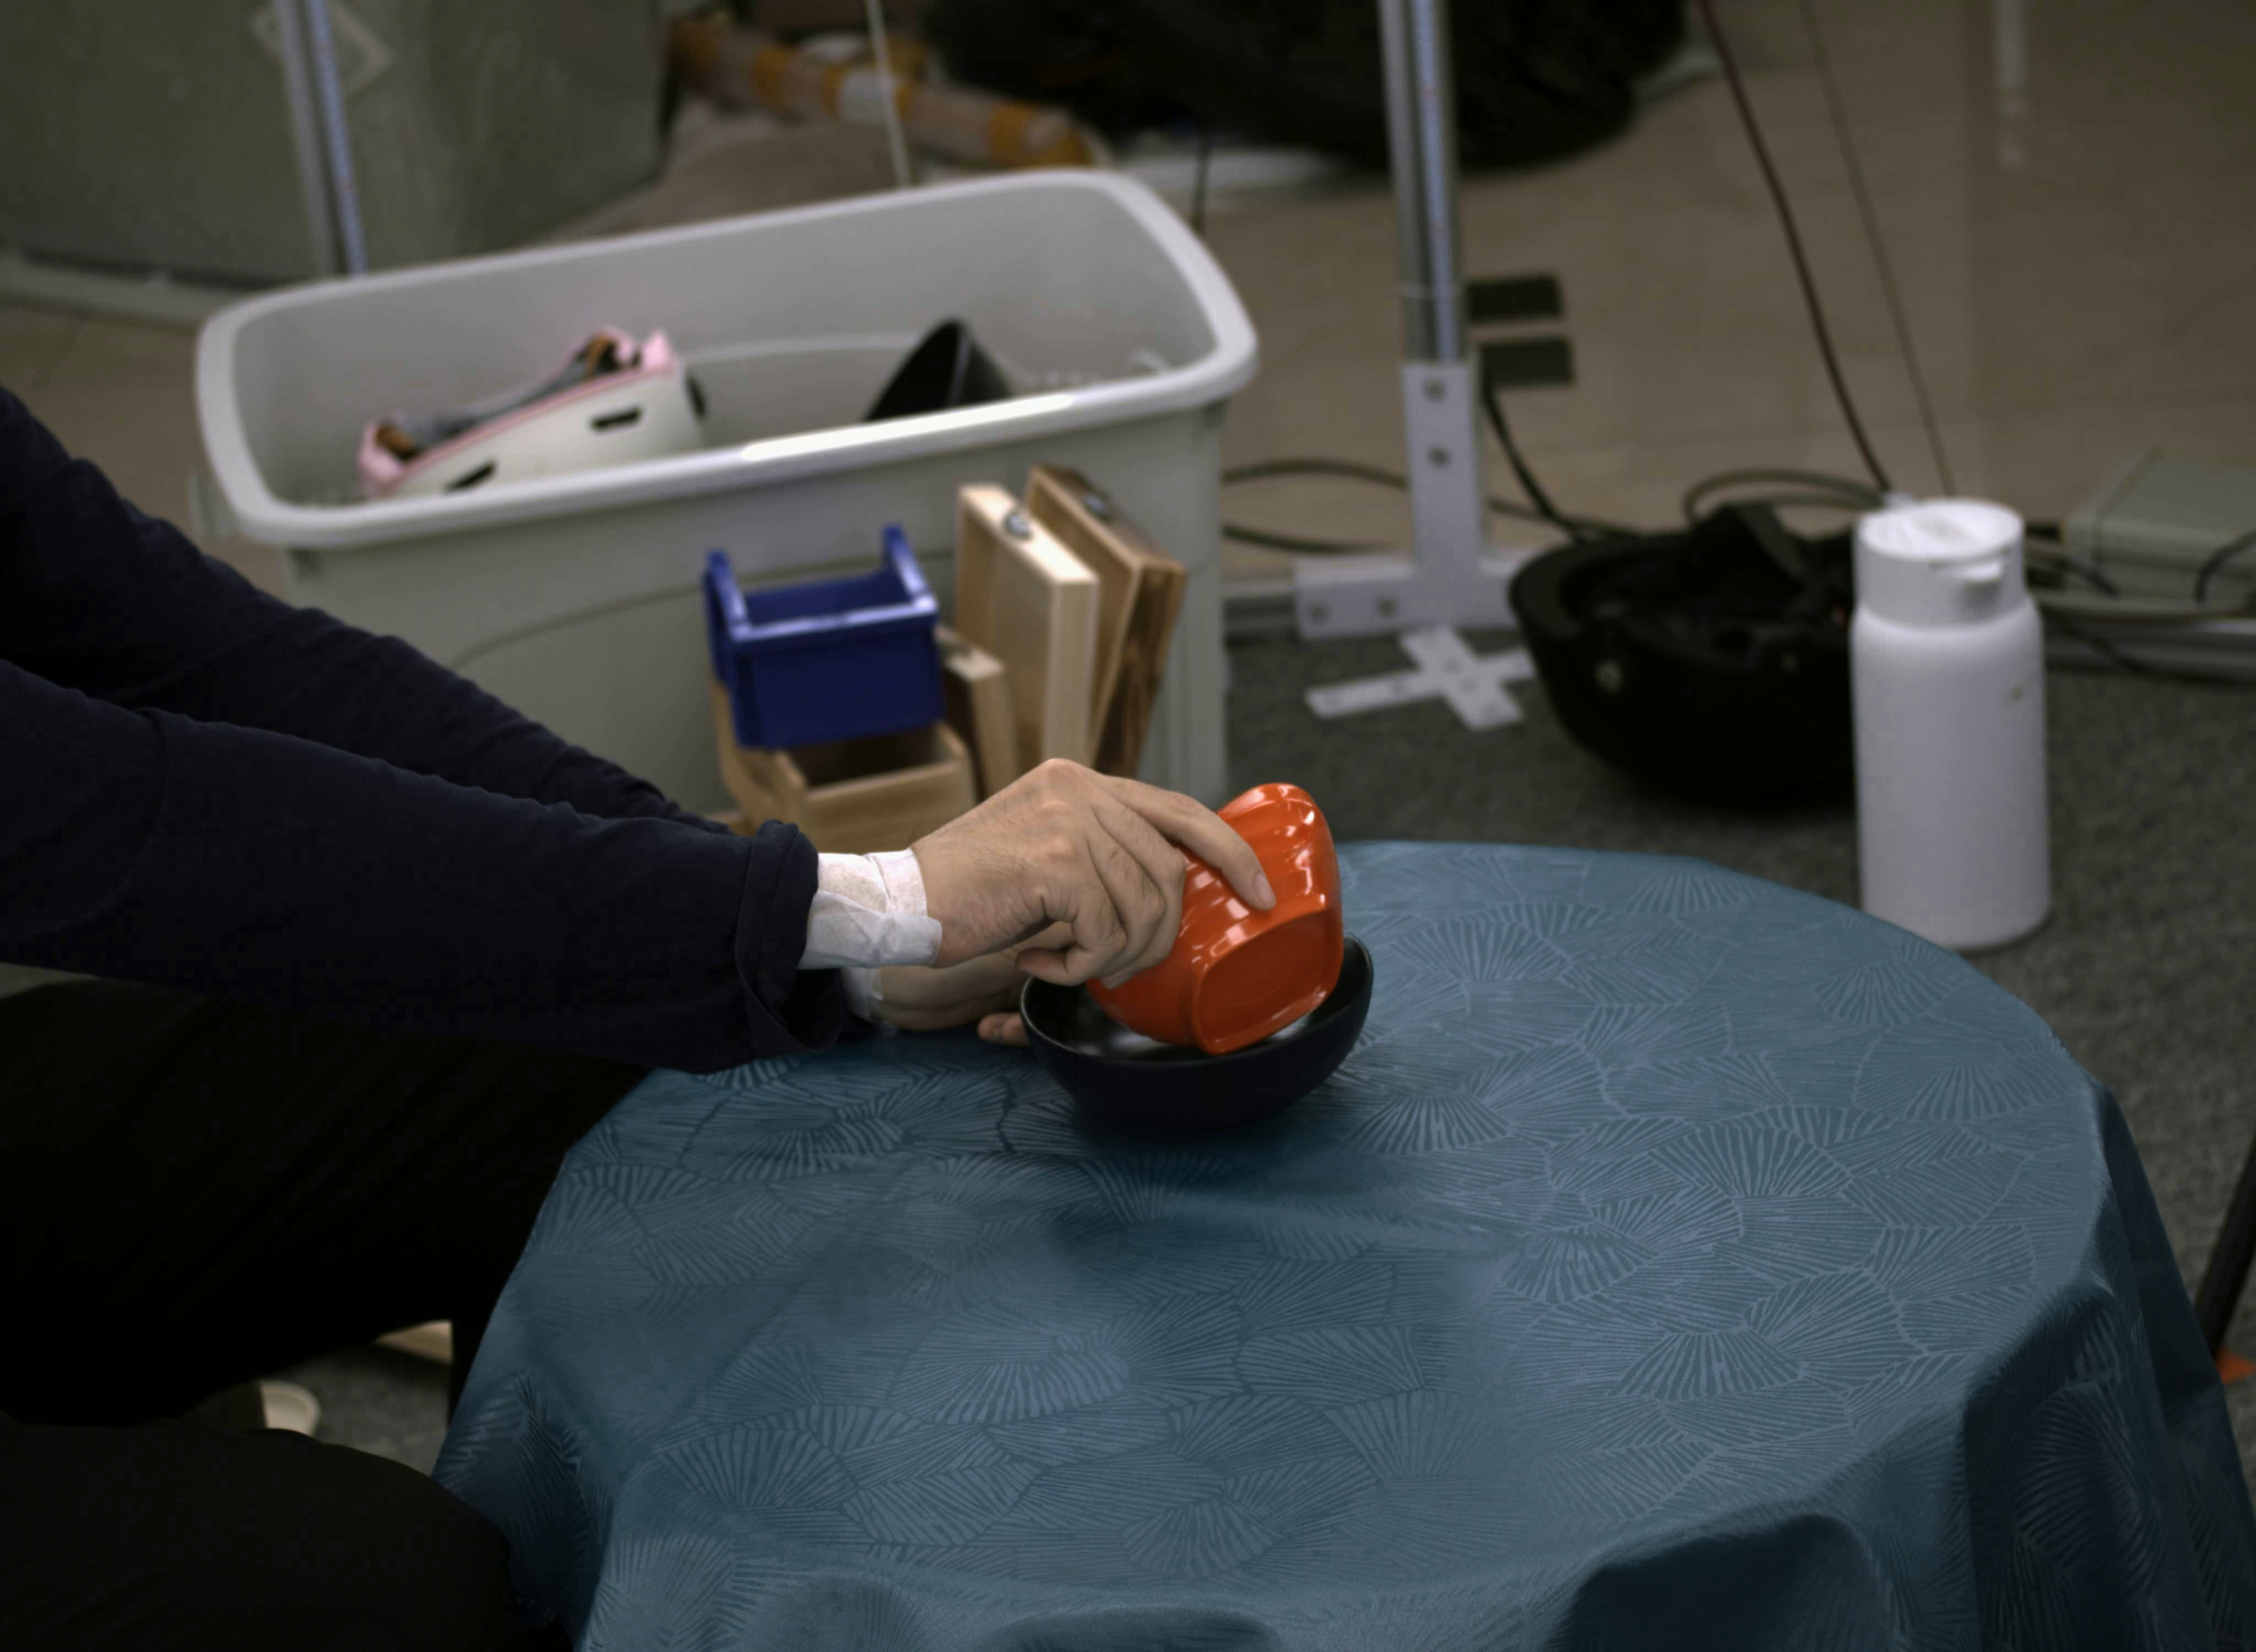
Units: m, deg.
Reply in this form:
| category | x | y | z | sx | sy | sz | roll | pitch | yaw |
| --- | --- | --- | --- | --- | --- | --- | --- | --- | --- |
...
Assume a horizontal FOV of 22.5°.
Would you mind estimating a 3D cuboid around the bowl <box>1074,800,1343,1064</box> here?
| category | x | y | z | sx | sy | sz | roll | pitch | yaw |
| --- | --- | --- | --- | --- | --- | --- | --- | --- | --- |
| bowl | 0.038 | 0.048 | 2.150 | 0.118 | 0.121 | 0.050 | -17 | 57 | -22 |

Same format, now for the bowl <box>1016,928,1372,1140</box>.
| category | x | y | z | sx | sy | sz | roll | pitch | yaw |
| --- | --- | --- | --- | --- | --- | --- | --- | --- | --- |
| bowl | 0.029 | 0.085 | 2.208 | 0.140 | 0.050 | 0.138 | -9 | 23 | 4 |
